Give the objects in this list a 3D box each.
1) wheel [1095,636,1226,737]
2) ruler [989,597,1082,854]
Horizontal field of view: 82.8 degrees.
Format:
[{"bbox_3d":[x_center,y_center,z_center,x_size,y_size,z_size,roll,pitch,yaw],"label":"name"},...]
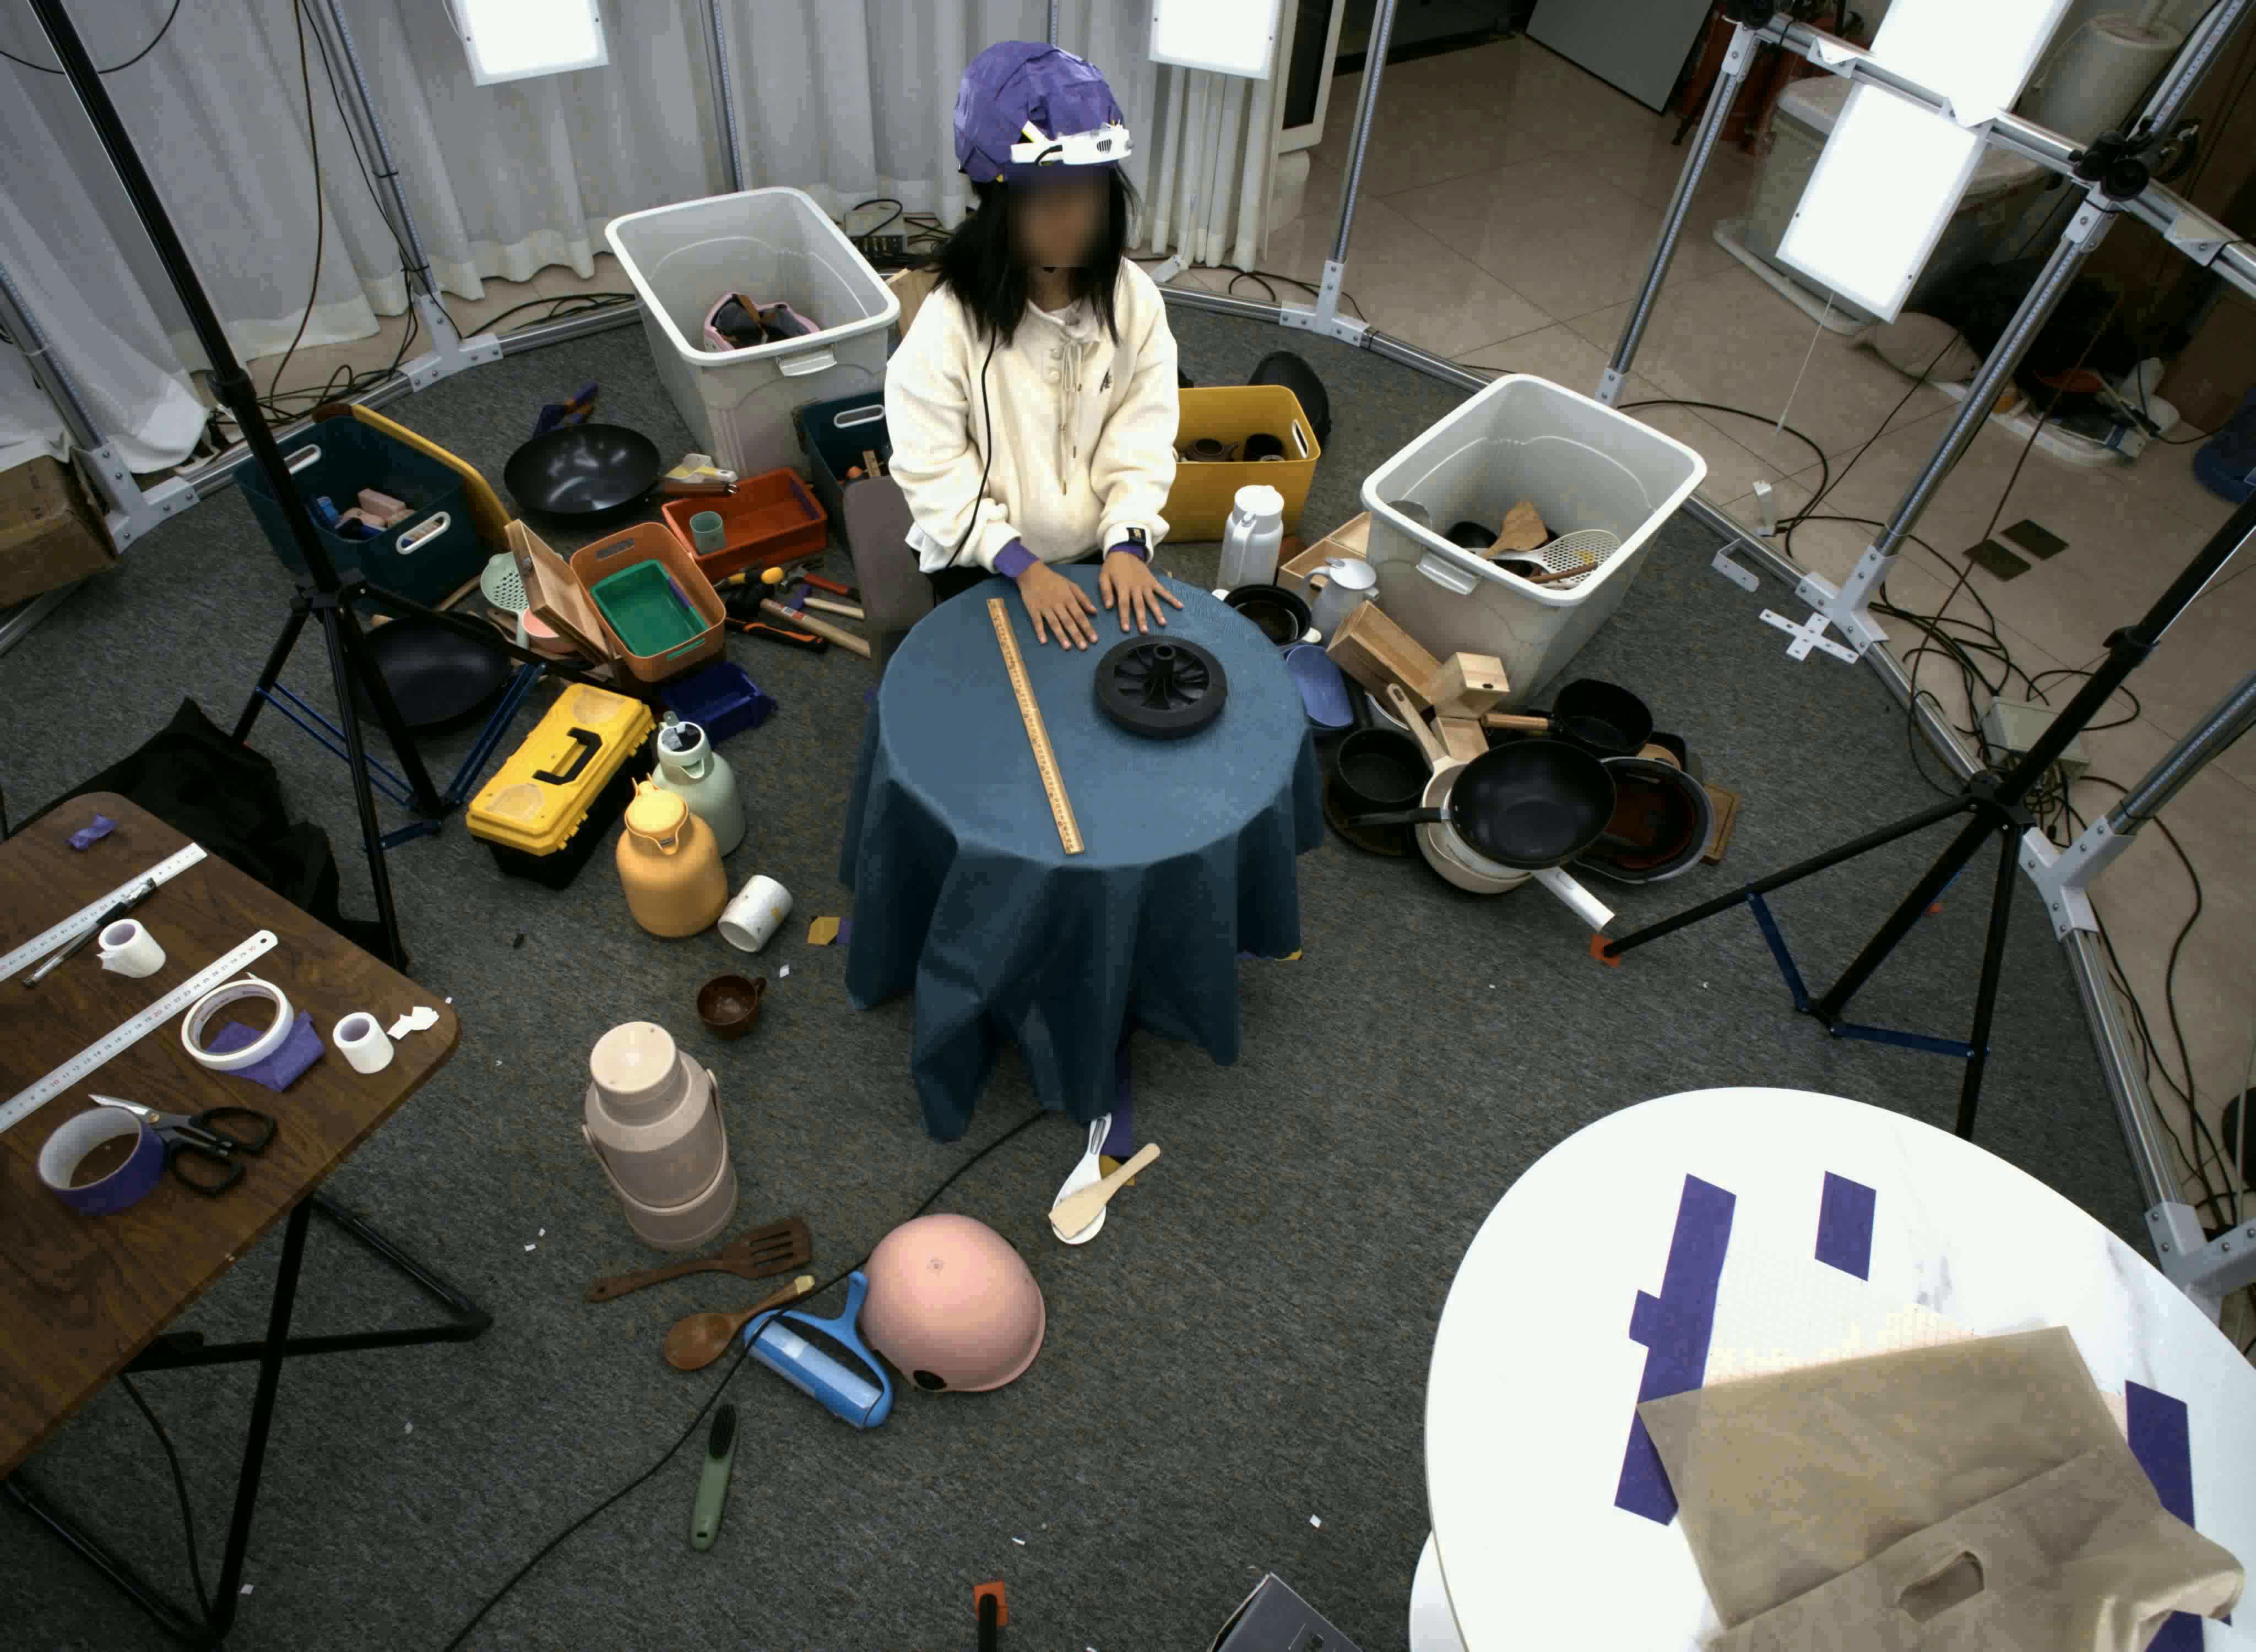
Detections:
[{"bbox_3d":[0.048,-0.214,1.810,0.191,0.077,0.190,-35,60,-29],"label":"wheel"},{"bbox_3d":[-0.135,-0.155,1.792,0.027,0.006,0.513,-10,50,-11],"label":"ruler"}]
